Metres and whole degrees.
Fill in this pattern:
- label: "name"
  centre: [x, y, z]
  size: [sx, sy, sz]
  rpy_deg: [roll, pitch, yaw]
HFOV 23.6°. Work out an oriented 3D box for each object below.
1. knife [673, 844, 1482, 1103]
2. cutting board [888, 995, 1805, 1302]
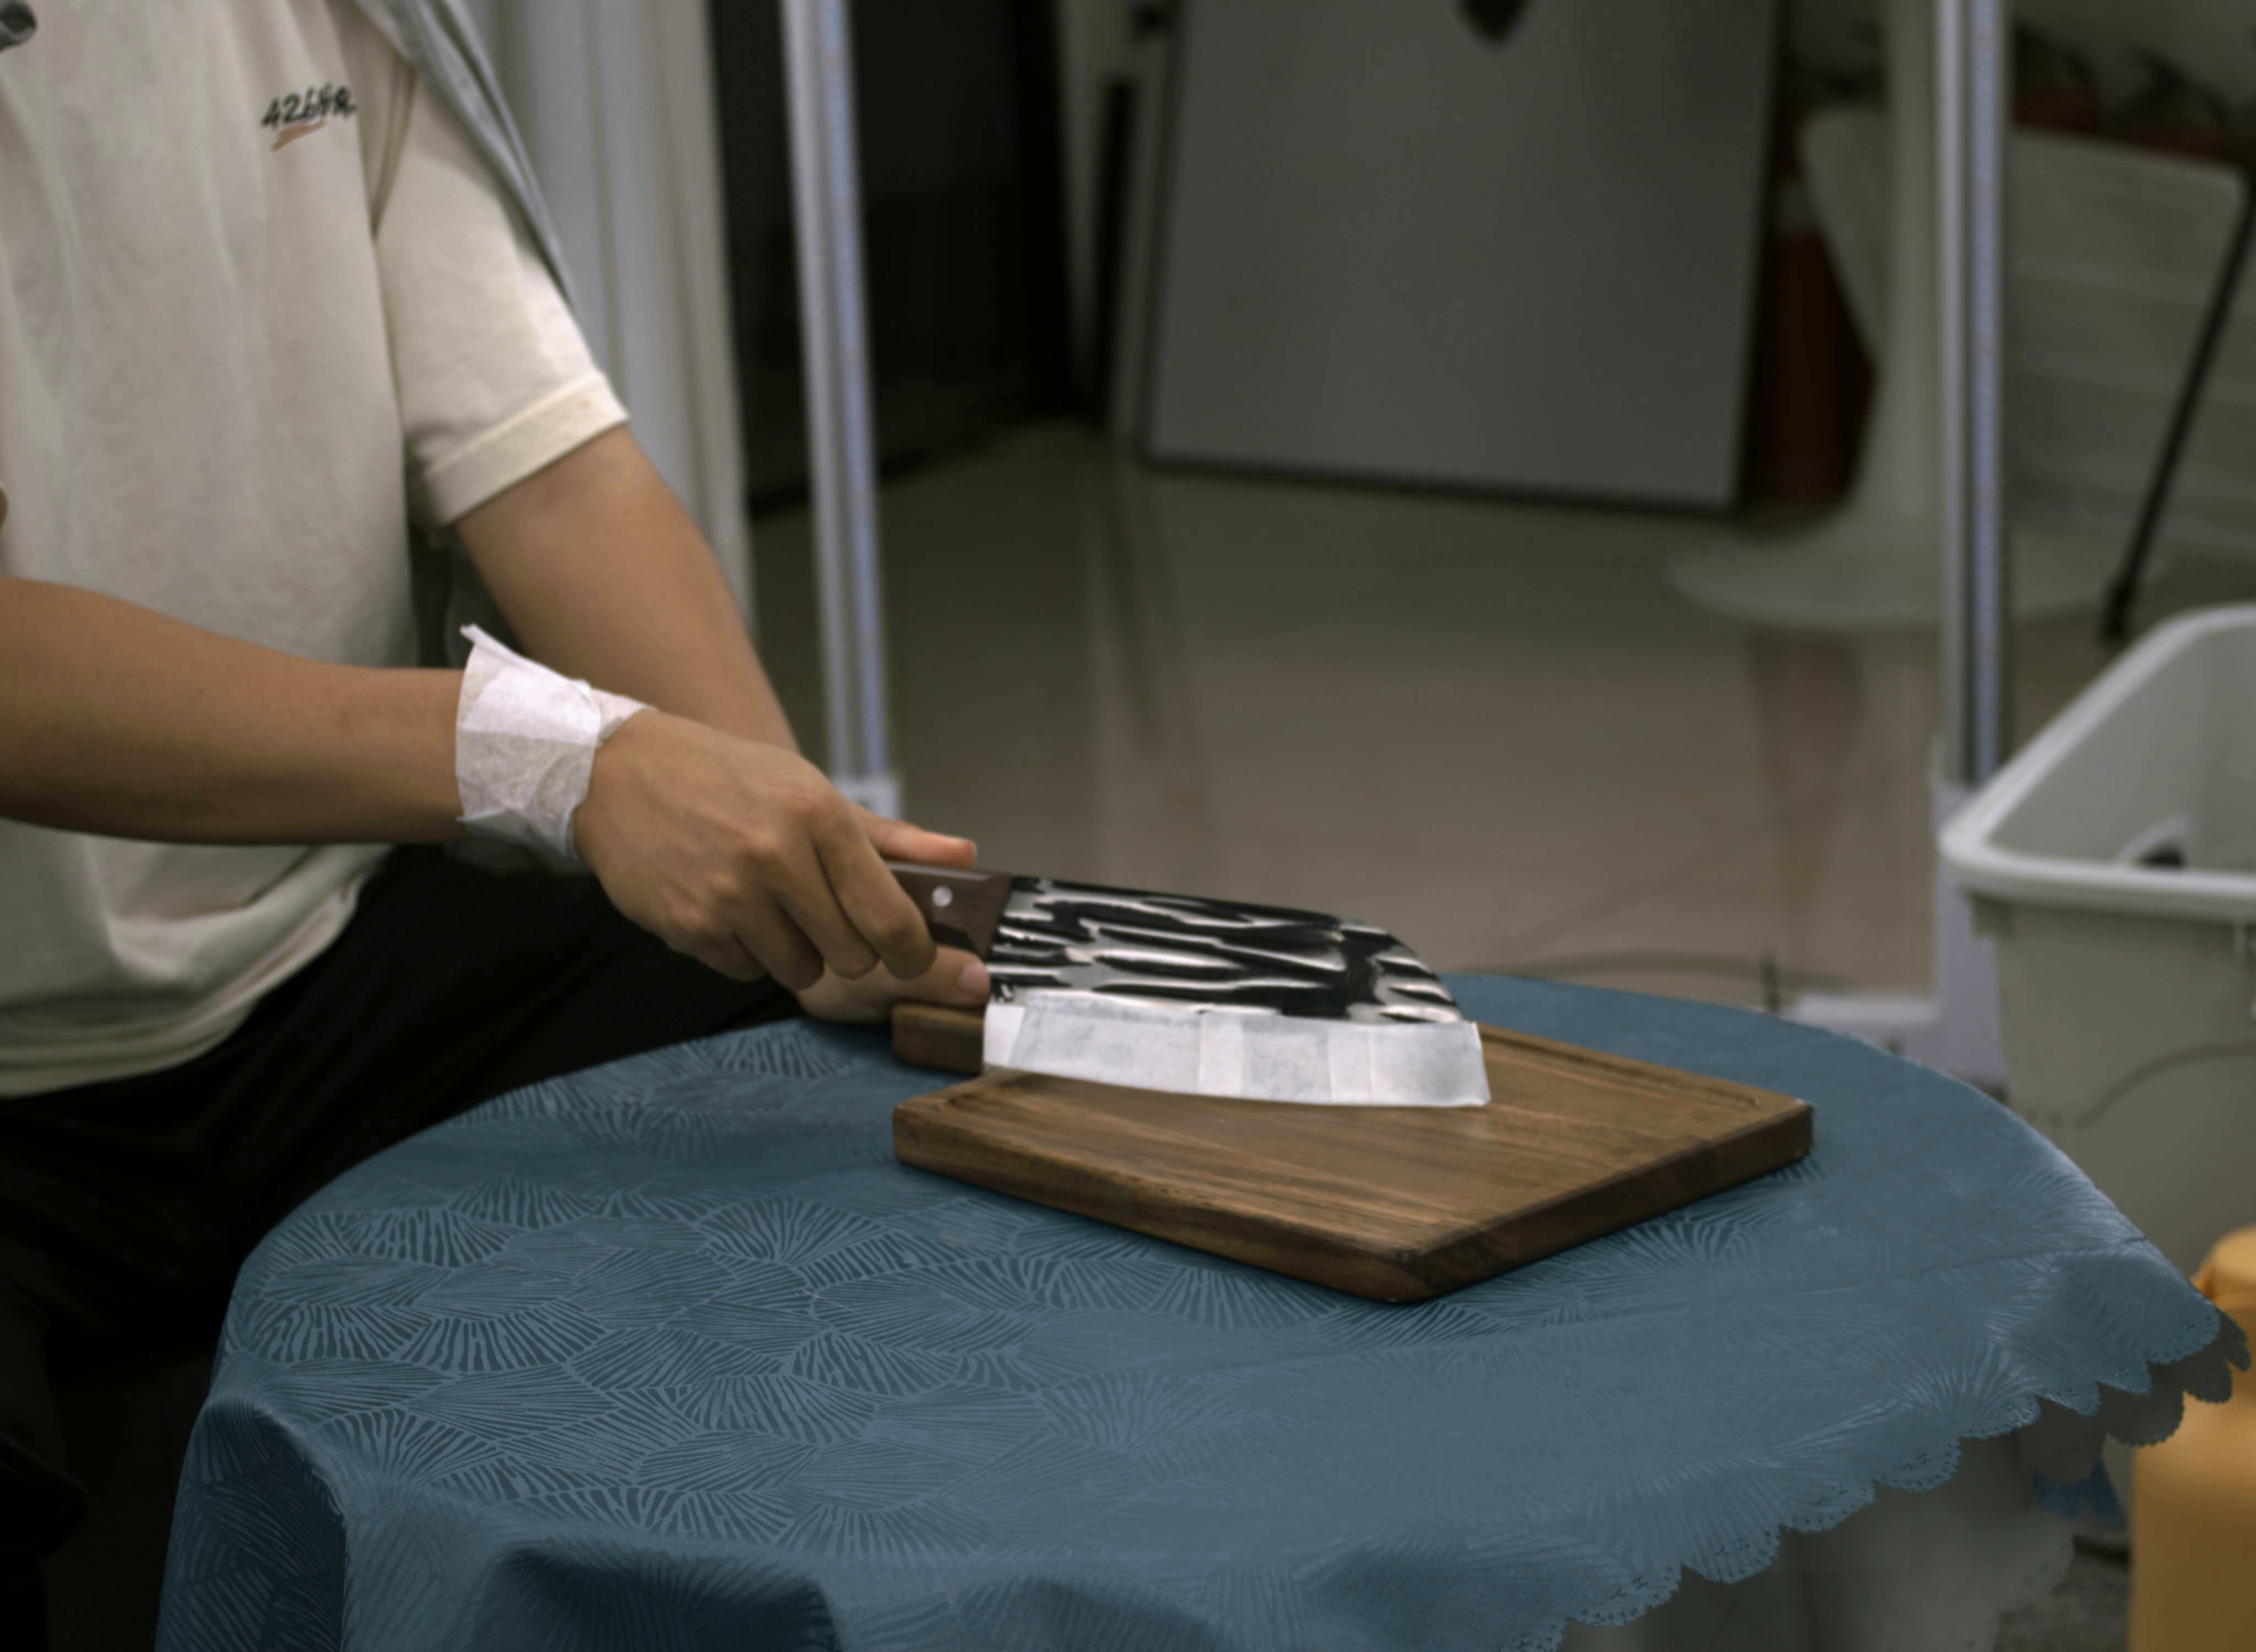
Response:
- label: "knife"
  centre: [-0.020, 0.051, 1.832]
  size: [0.299, 0.069, 0.024]
  rpy_deg: [7, -9, 18]
- label: "cutting board"
  centre: [0.039, 0.095, 1.827]
  size: [0.197, 0.023, 0.356]
  rpy_deg: [-15, 17, -39]
